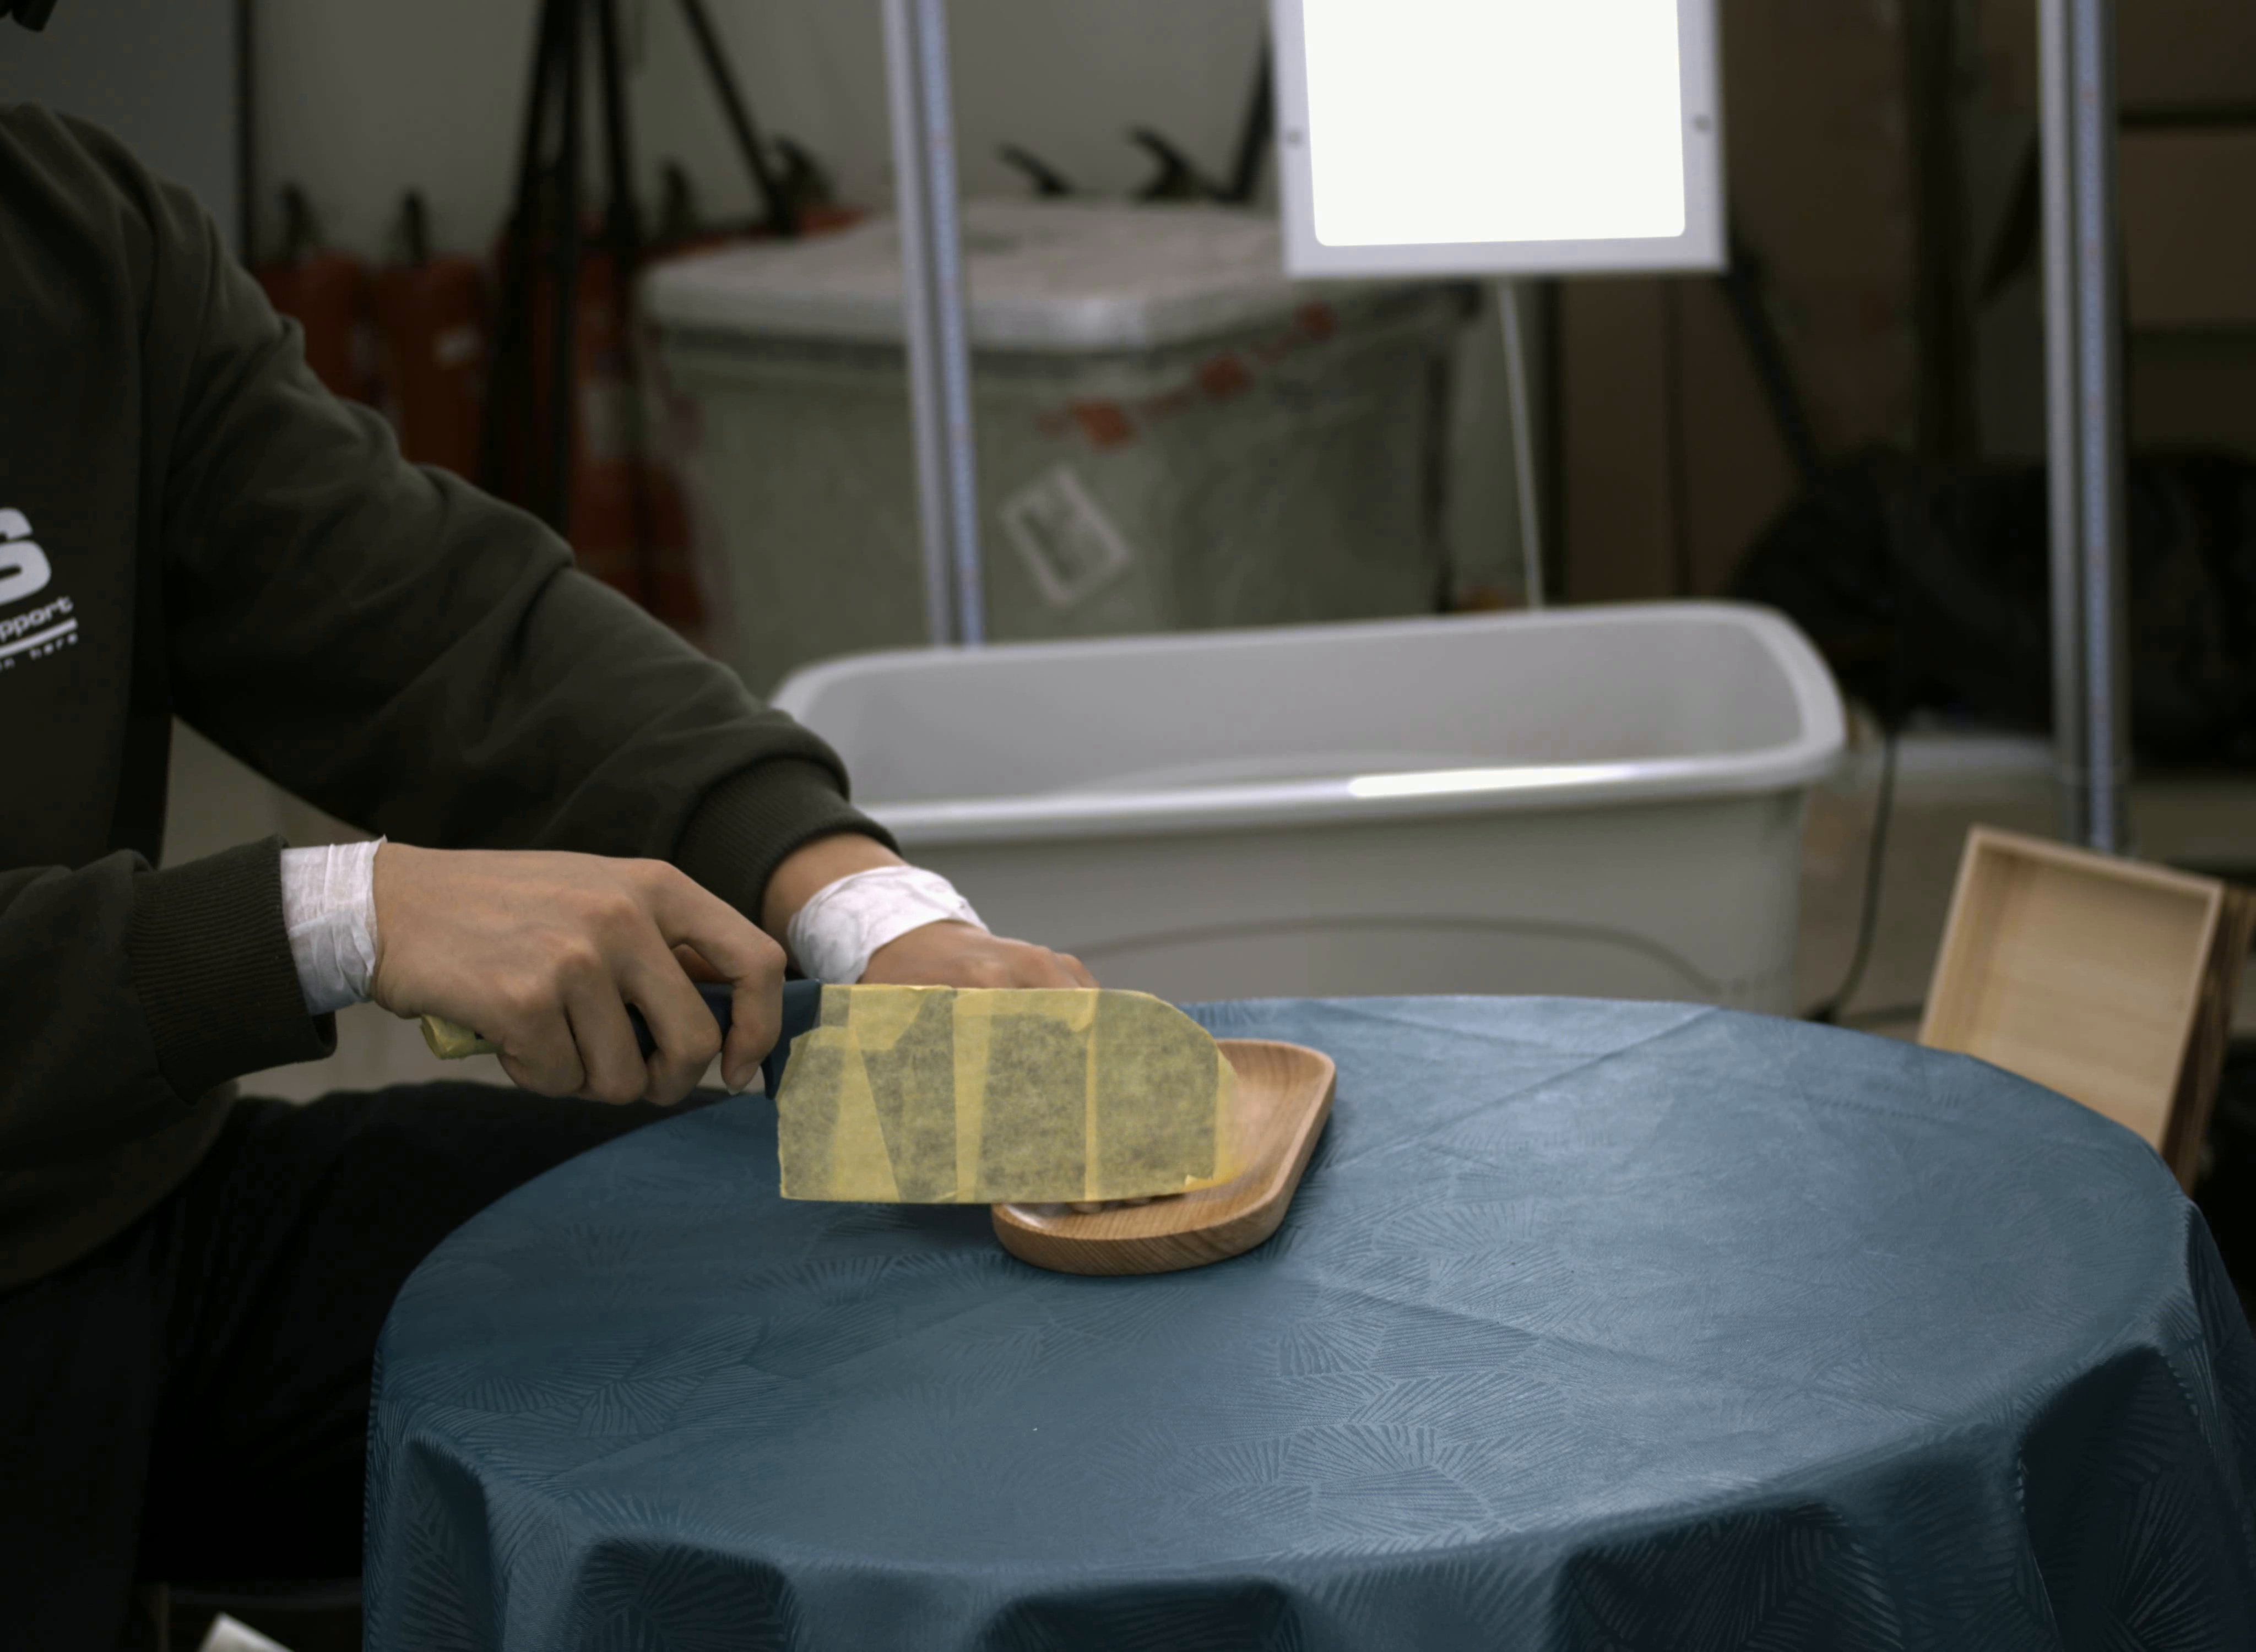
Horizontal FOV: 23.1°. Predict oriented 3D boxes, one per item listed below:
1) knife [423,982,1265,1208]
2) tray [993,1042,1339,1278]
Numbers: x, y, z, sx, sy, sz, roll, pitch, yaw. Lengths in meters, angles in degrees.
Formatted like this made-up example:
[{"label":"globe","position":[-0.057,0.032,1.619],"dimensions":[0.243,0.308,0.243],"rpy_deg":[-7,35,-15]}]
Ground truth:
[{"label":"knife","position":[-0.093,0.088,1.845],"dimensions":[0.286,0.081,0.027],"rpy_deg":[4,-7,-10]},{"label":"tray","position":[0.016,0.114,1.914],"dimensions":[0.102,0.020,0.229],"rpy_deg":[-4,15,11]}]
